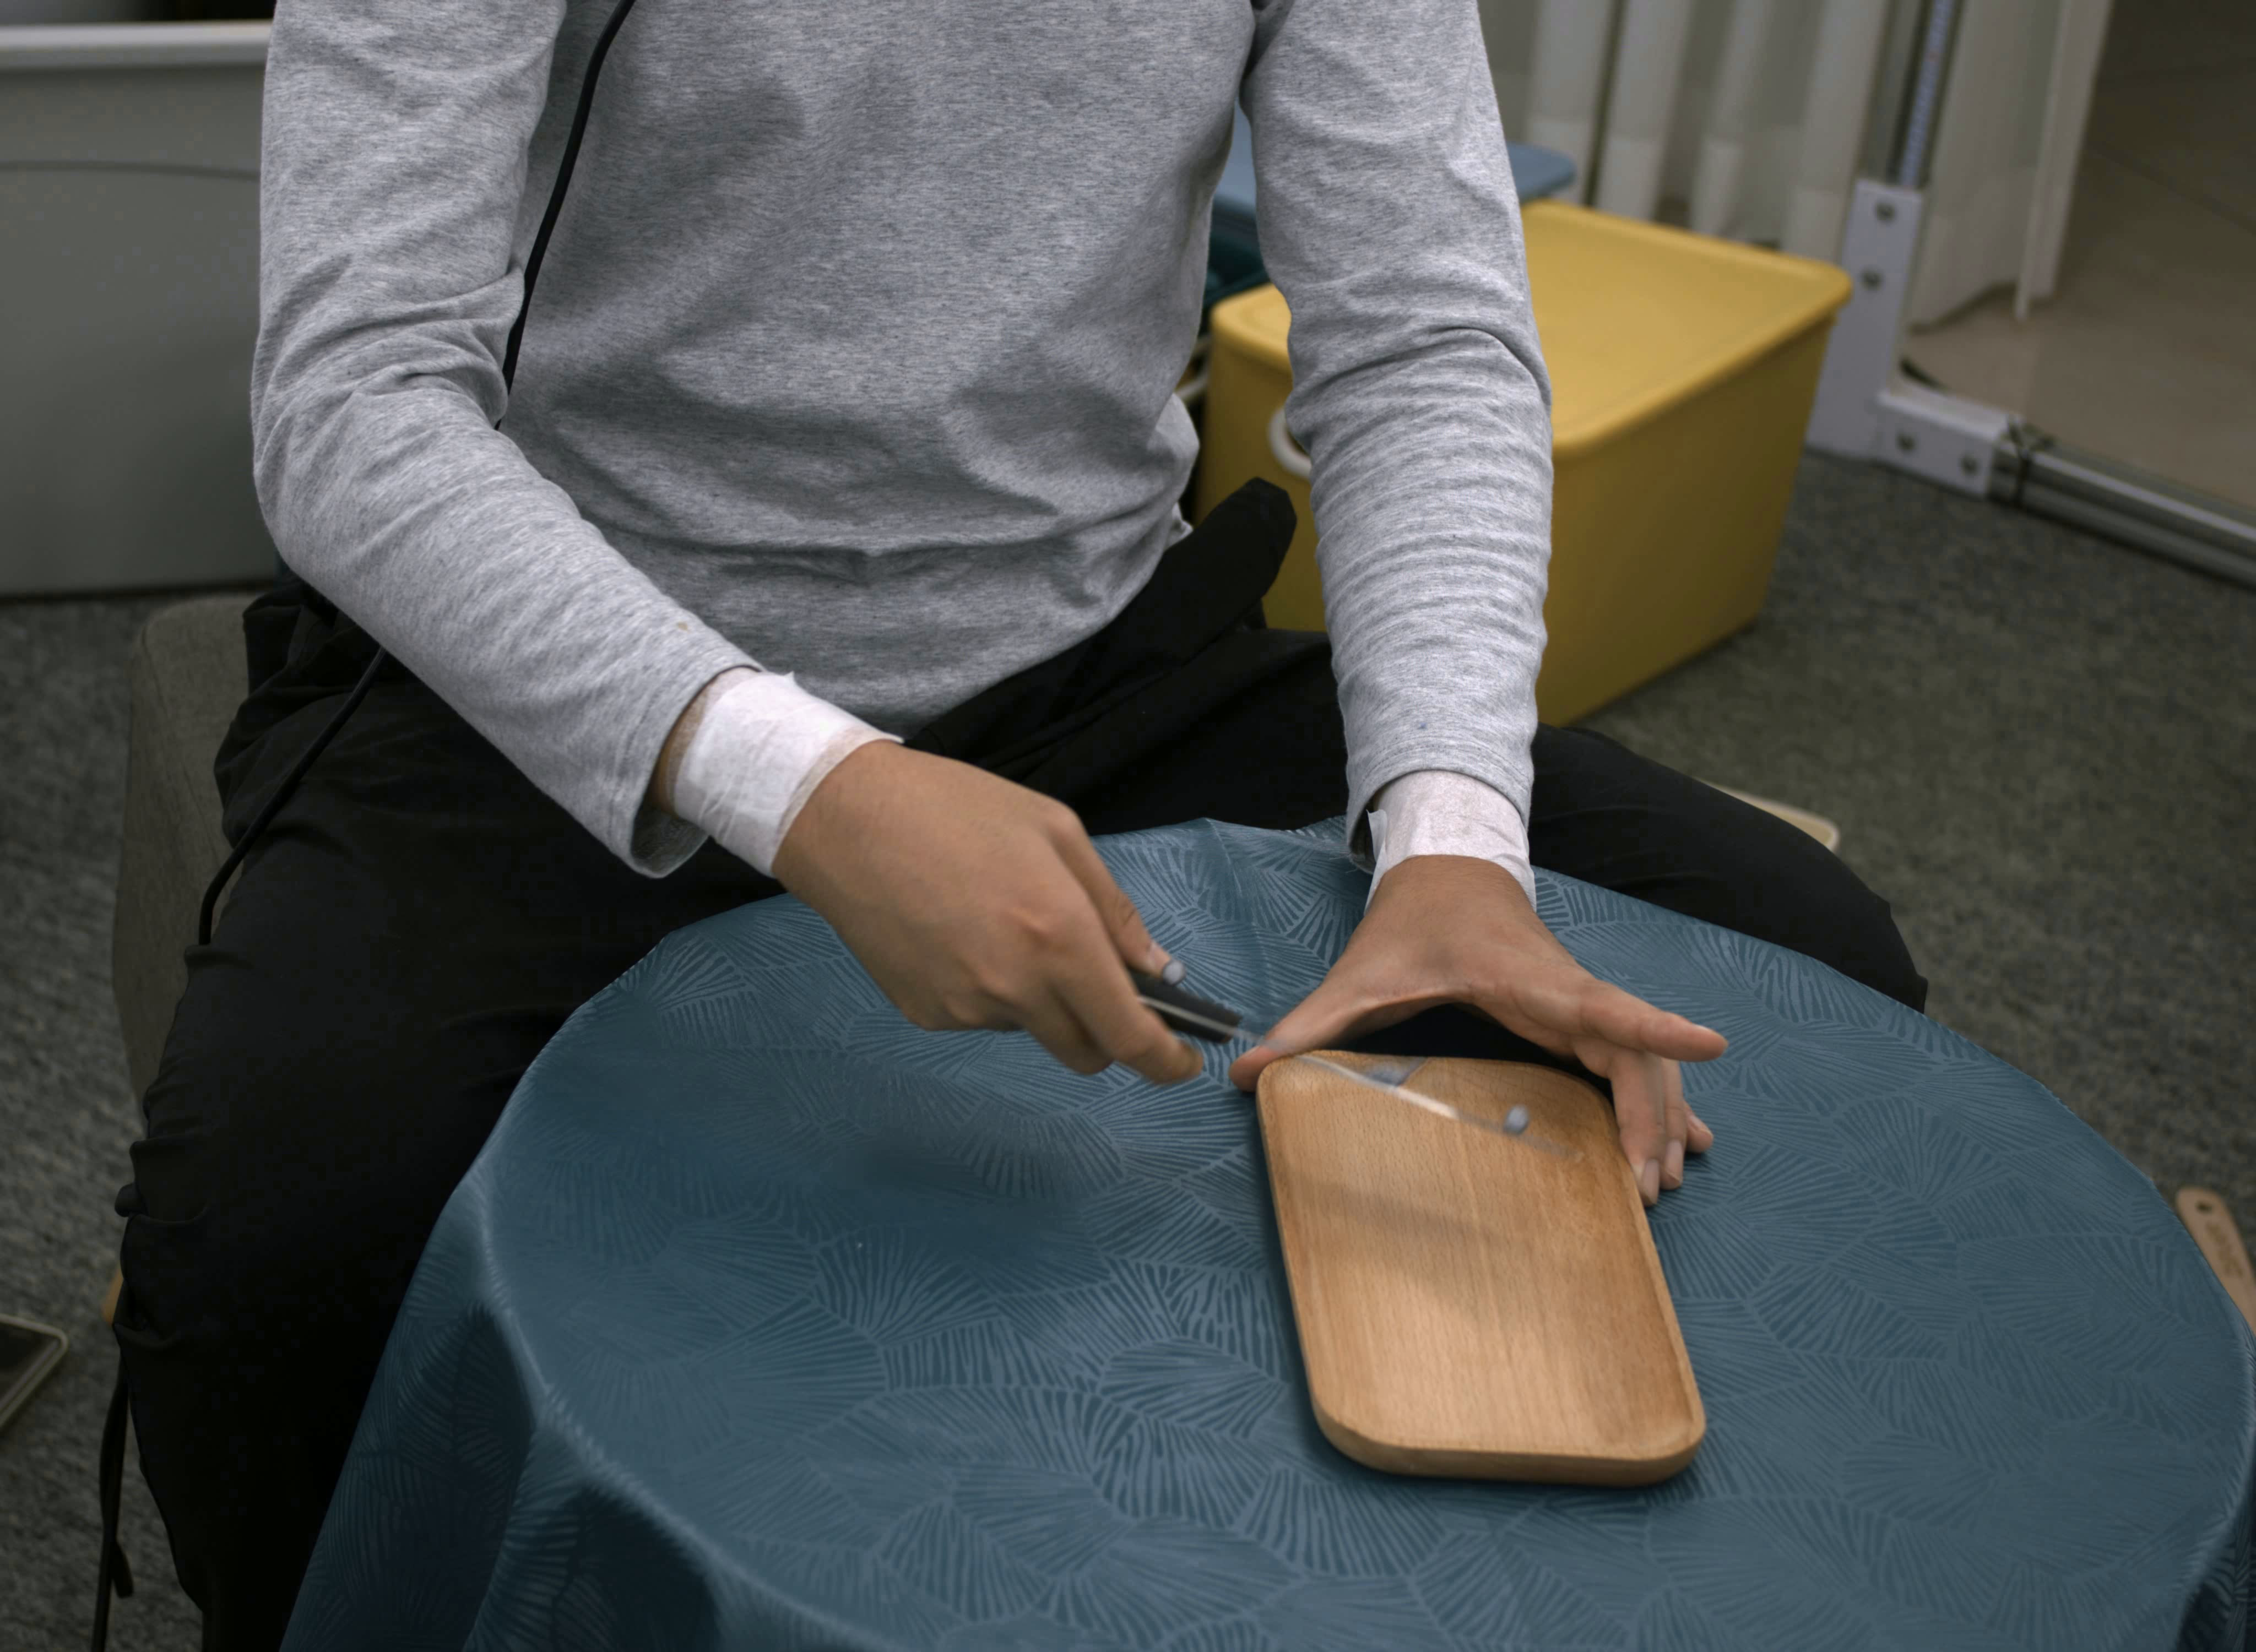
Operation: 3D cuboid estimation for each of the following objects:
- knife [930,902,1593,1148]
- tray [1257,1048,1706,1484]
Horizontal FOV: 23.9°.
[{"bbox_3d":[0.044,0.069,1.792,0.238,0.016,0.024,19,2,9],"label":"knife"},{"bbox_3d":[0.114,0.144,1.774,0.130,0.023,0.252,7,26,-6],"label":"tray"}]
